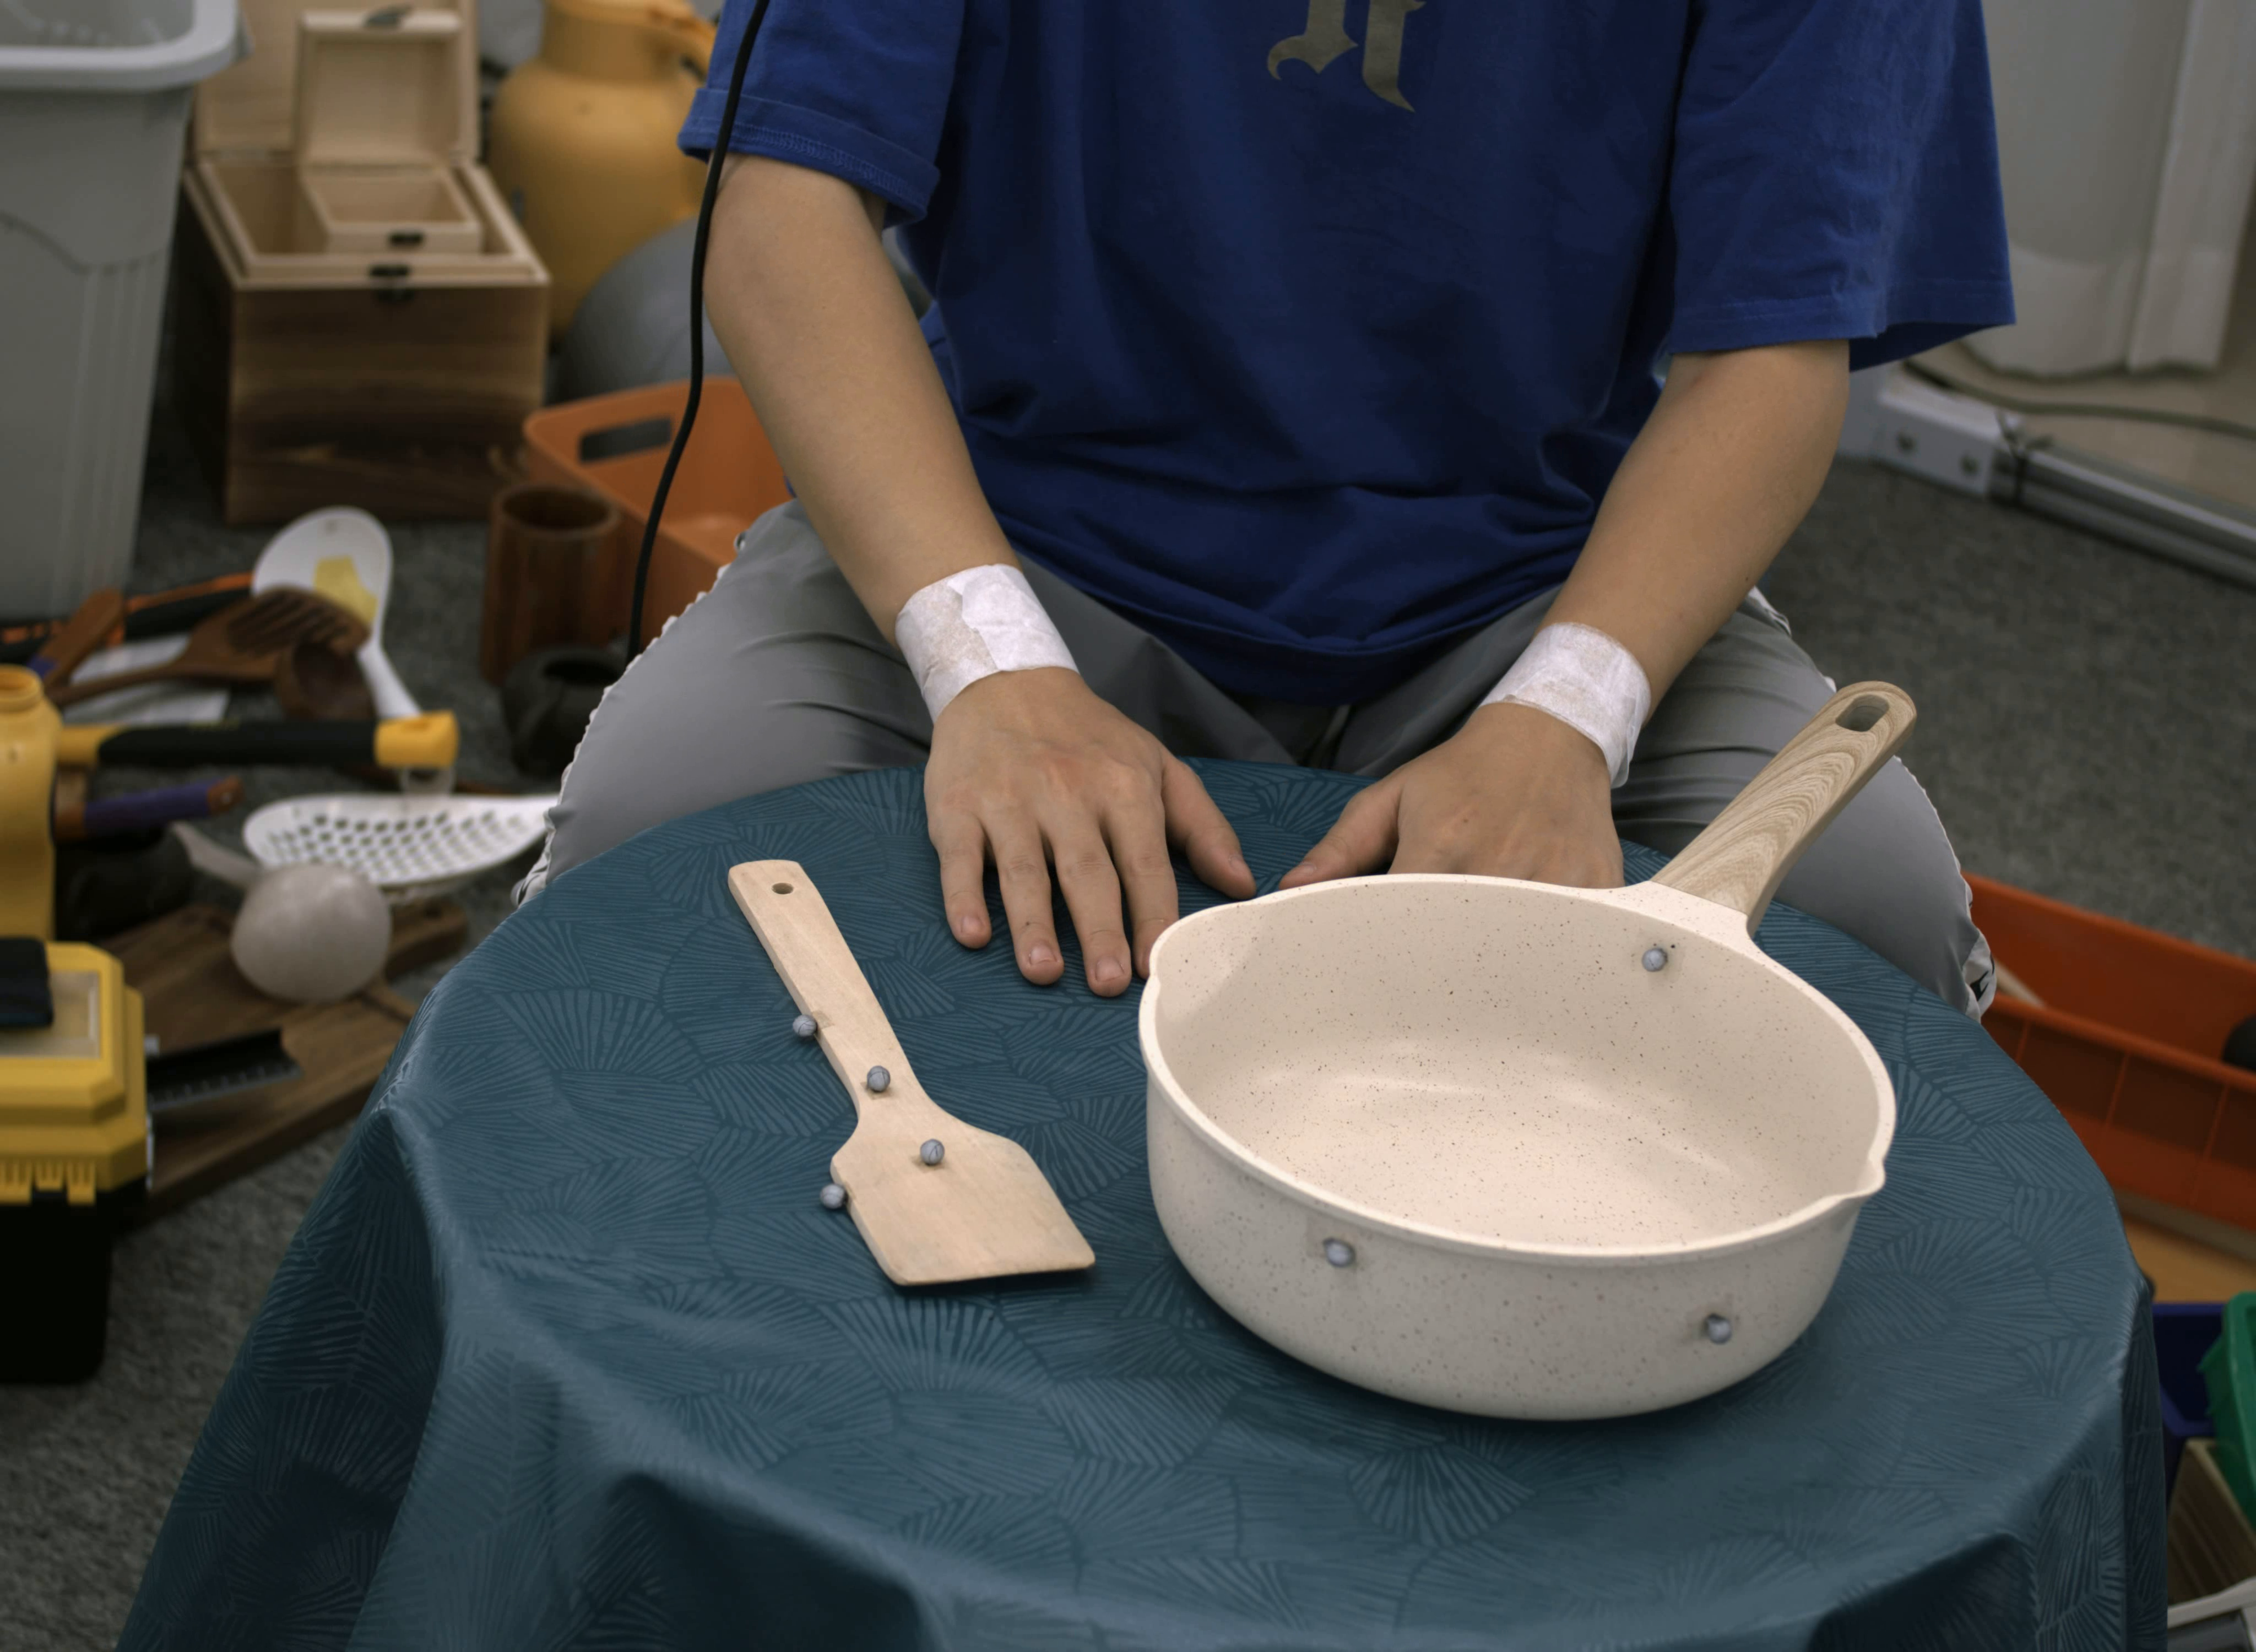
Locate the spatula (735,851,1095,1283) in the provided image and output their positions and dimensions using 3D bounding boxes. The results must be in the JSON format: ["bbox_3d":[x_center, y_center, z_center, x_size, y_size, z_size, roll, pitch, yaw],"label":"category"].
[{"bbox_3d":[-0.090,0.080,1.858,0.072,0.010,0.295,-5,29,-19],"label":"spatula"}]

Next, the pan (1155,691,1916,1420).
[{"bbox_3d":[0.174,0.072,1.835,0.264,0.101,0.434,17,28,24],"label":"pan"}]
